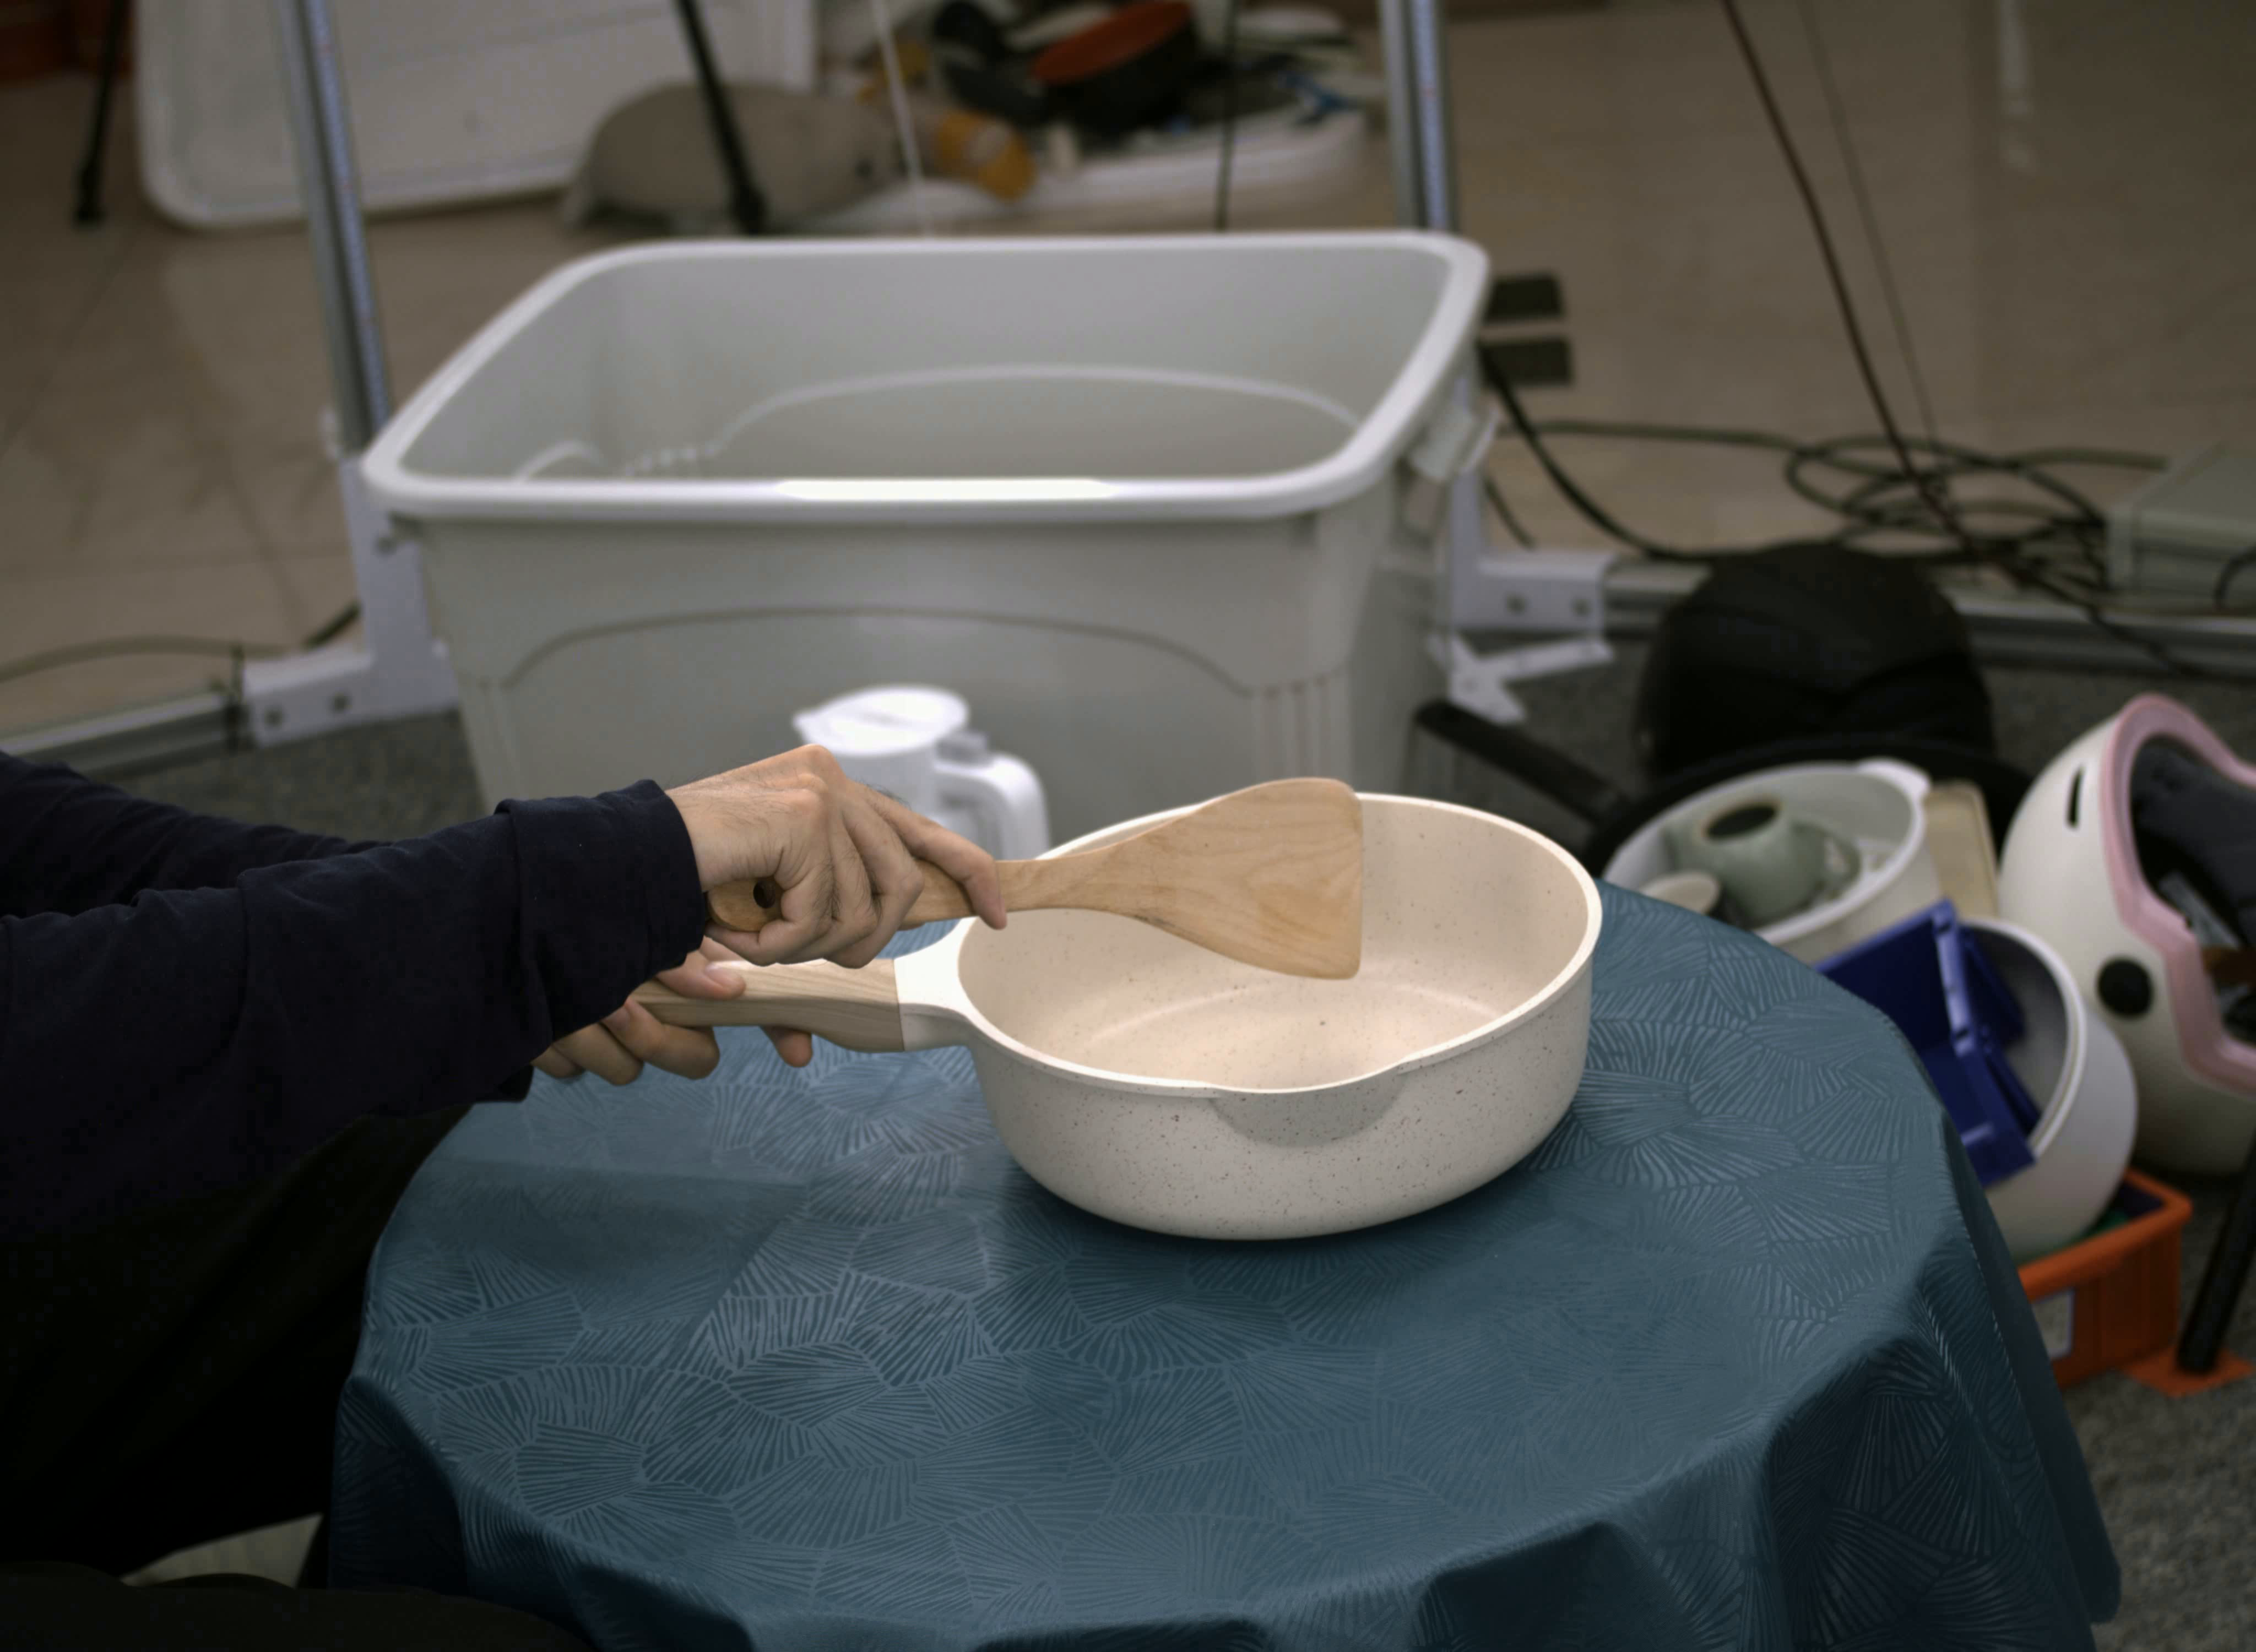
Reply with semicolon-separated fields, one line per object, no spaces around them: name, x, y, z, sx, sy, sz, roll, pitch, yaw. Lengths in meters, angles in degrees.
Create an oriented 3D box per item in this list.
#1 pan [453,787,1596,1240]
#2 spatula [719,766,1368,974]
pan;-0.034;0.082;2.166;0.434;0.103;0.259;-8;26;-3
spatula;-0.022;0.022;2.072;0.327;0.080;0.016;-3;-3;-42
